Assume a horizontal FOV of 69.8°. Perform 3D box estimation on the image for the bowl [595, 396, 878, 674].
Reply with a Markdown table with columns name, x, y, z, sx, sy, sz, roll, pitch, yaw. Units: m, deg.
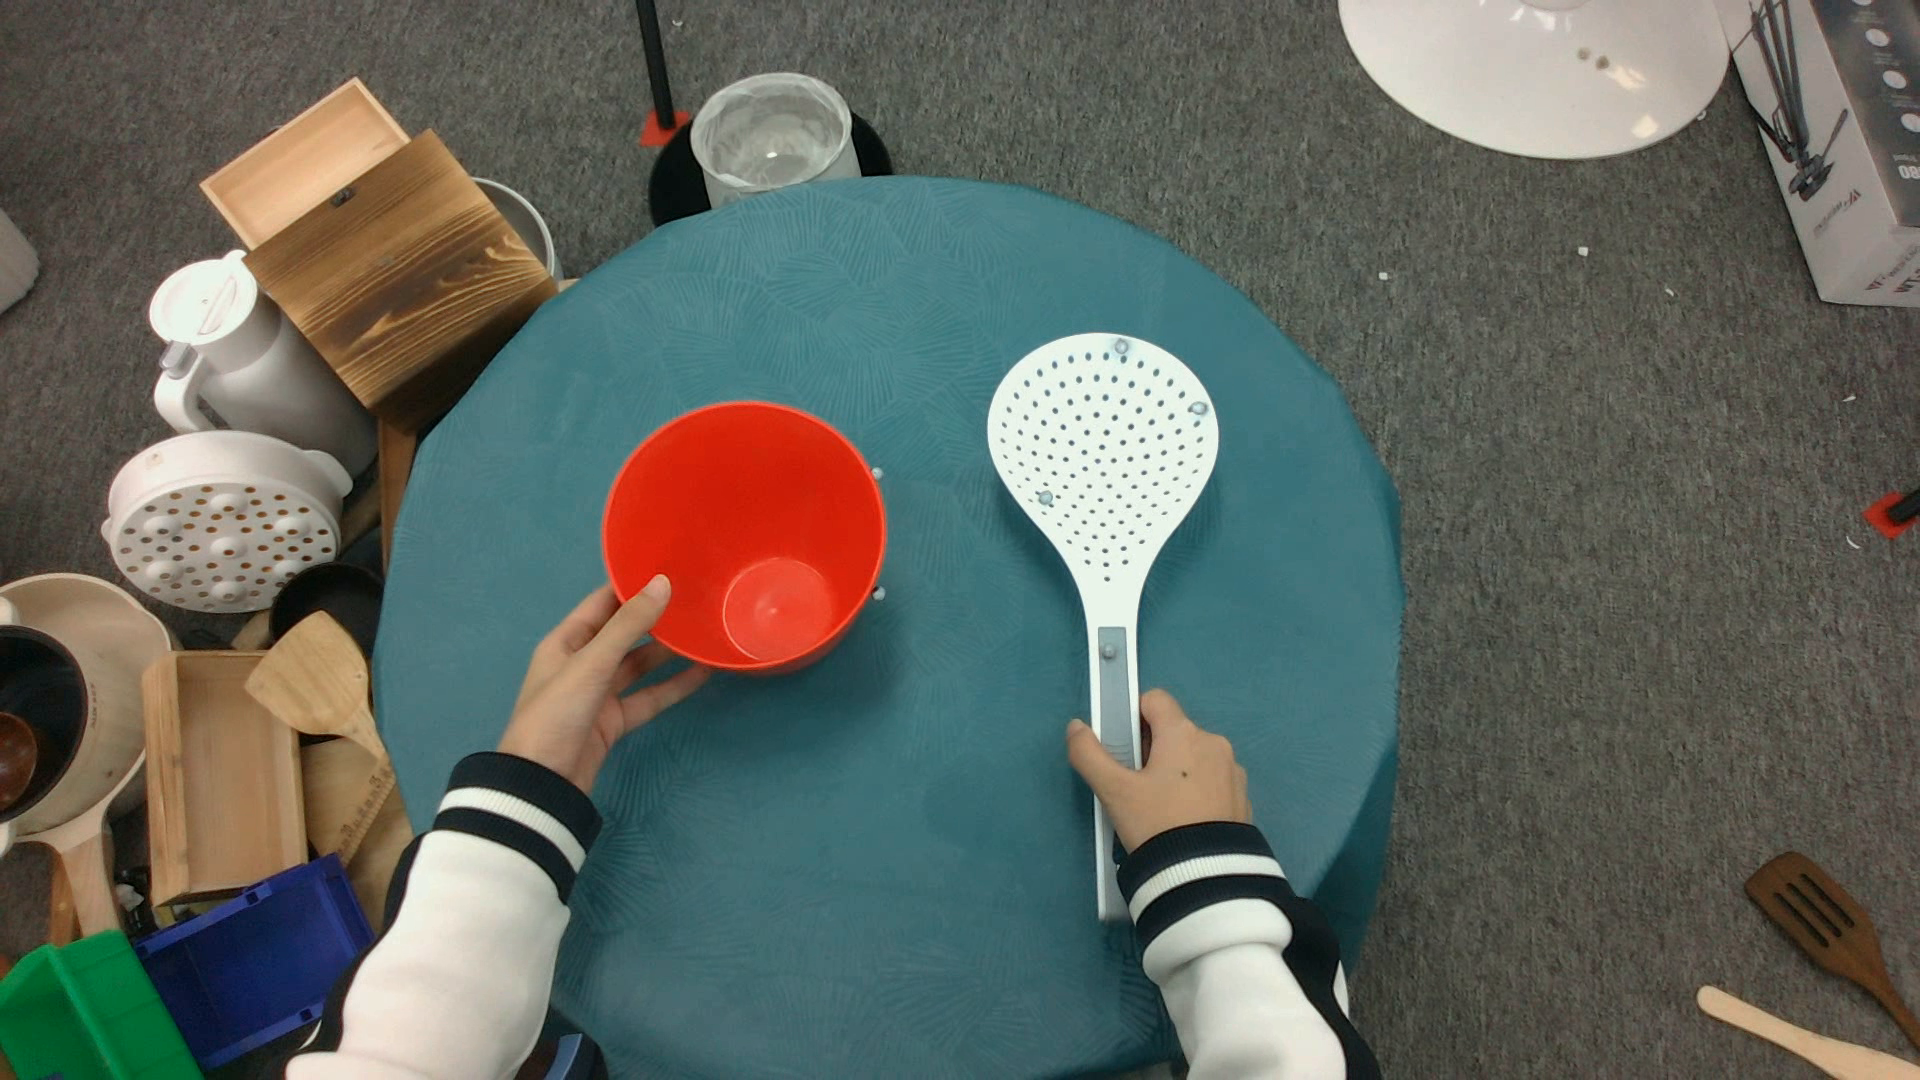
| name | x | y | z | sx | sy | sz | roll | pitch | yaw |
| --- | --- | --- | --- | --- | --- | --- | --- | --- | --- |
| bowl | -0.118 | 0.010 | 0.760 | 0.148 | 0.104 | 0.148 | 1 | 62 | -3 |

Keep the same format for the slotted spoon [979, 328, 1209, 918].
| name | x | y | z | sx | sy | sz | roll | pitch | yaw |
| --- | --- | --- | --- | --- | --- | --- | --- | --- | --- |
| slotted spoon | 0.079 | 0.032 | 0.770 | 0.136 | 0.045 | 0.351 | 0 | 59 | 1 |
